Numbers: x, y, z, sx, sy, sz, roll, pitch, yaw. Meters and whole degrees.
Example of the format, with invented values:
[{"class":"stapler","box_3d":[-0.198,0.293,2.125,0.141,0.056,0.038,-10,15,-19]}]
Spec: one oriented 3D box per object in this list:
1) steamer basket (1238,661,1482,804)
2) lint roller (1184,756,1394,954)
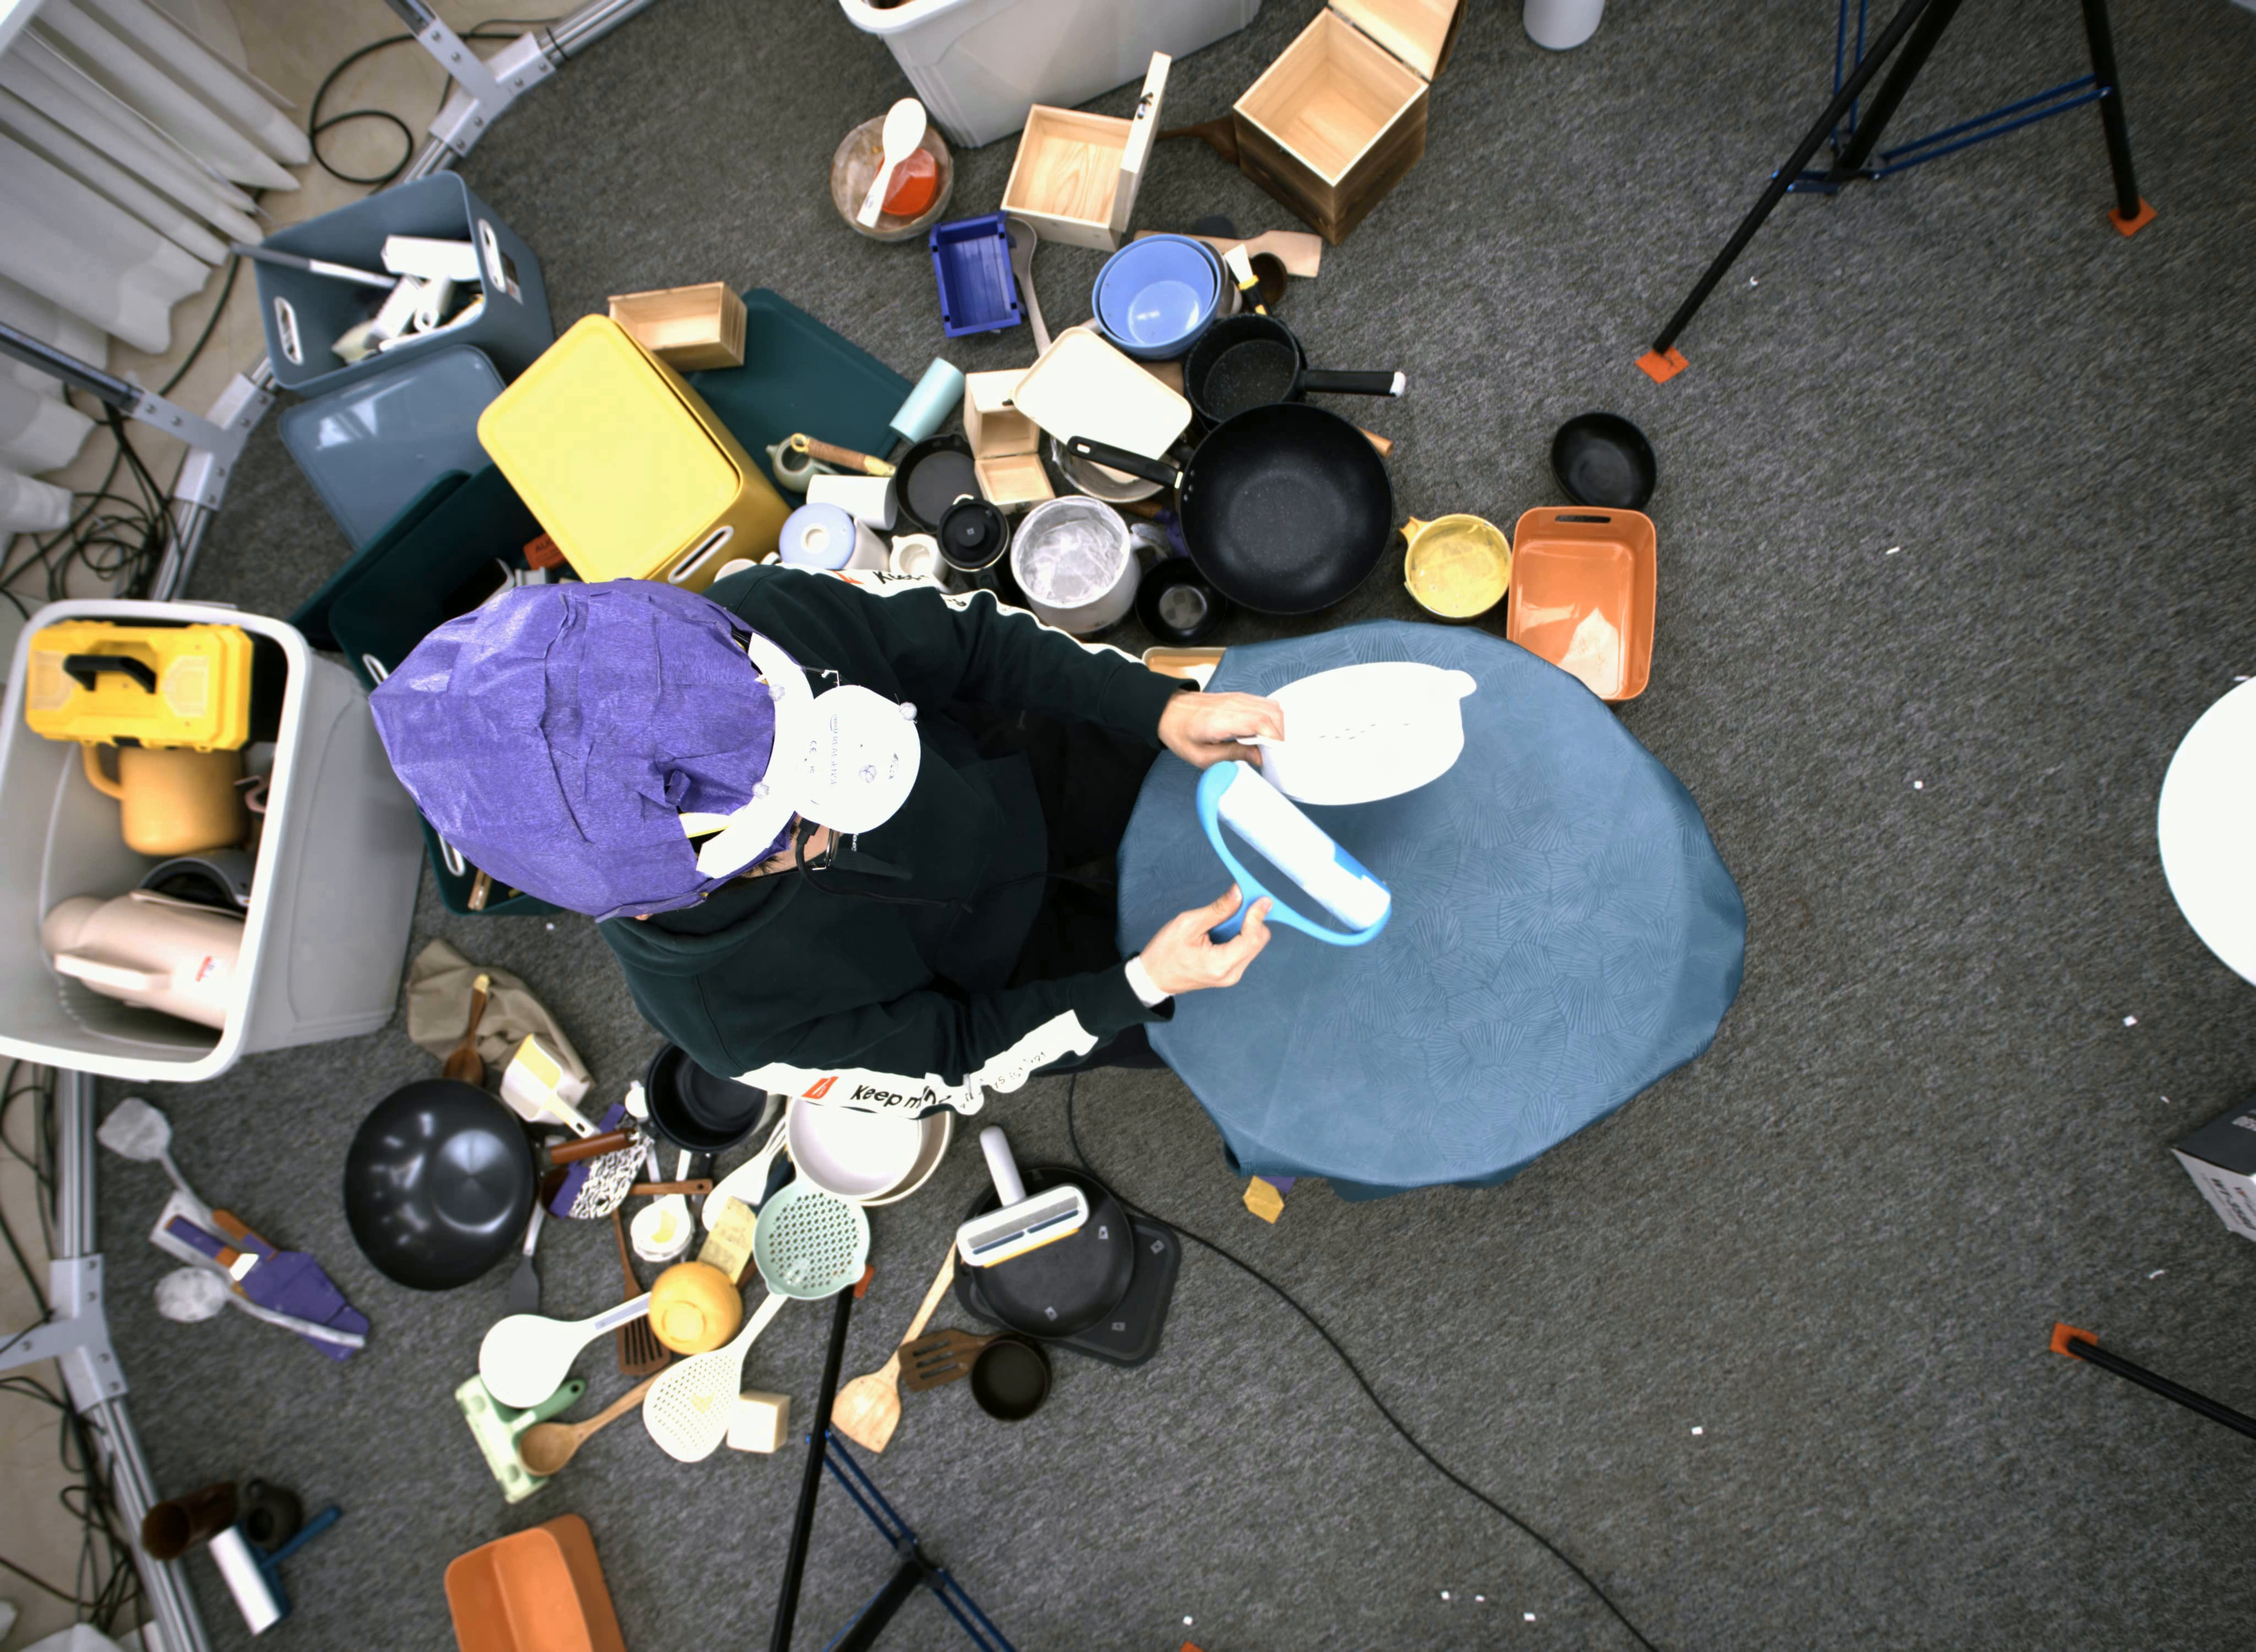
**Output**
[{"class":"steamer basket","box_3d":[0.222,-0.090,1.296,0.231,0.198,0.070,-14,114,5]},{"class":"lint roller","box_3d":[0.119,0.059,1.275,0.230,0.067,0.182,33,105,-18]}]
